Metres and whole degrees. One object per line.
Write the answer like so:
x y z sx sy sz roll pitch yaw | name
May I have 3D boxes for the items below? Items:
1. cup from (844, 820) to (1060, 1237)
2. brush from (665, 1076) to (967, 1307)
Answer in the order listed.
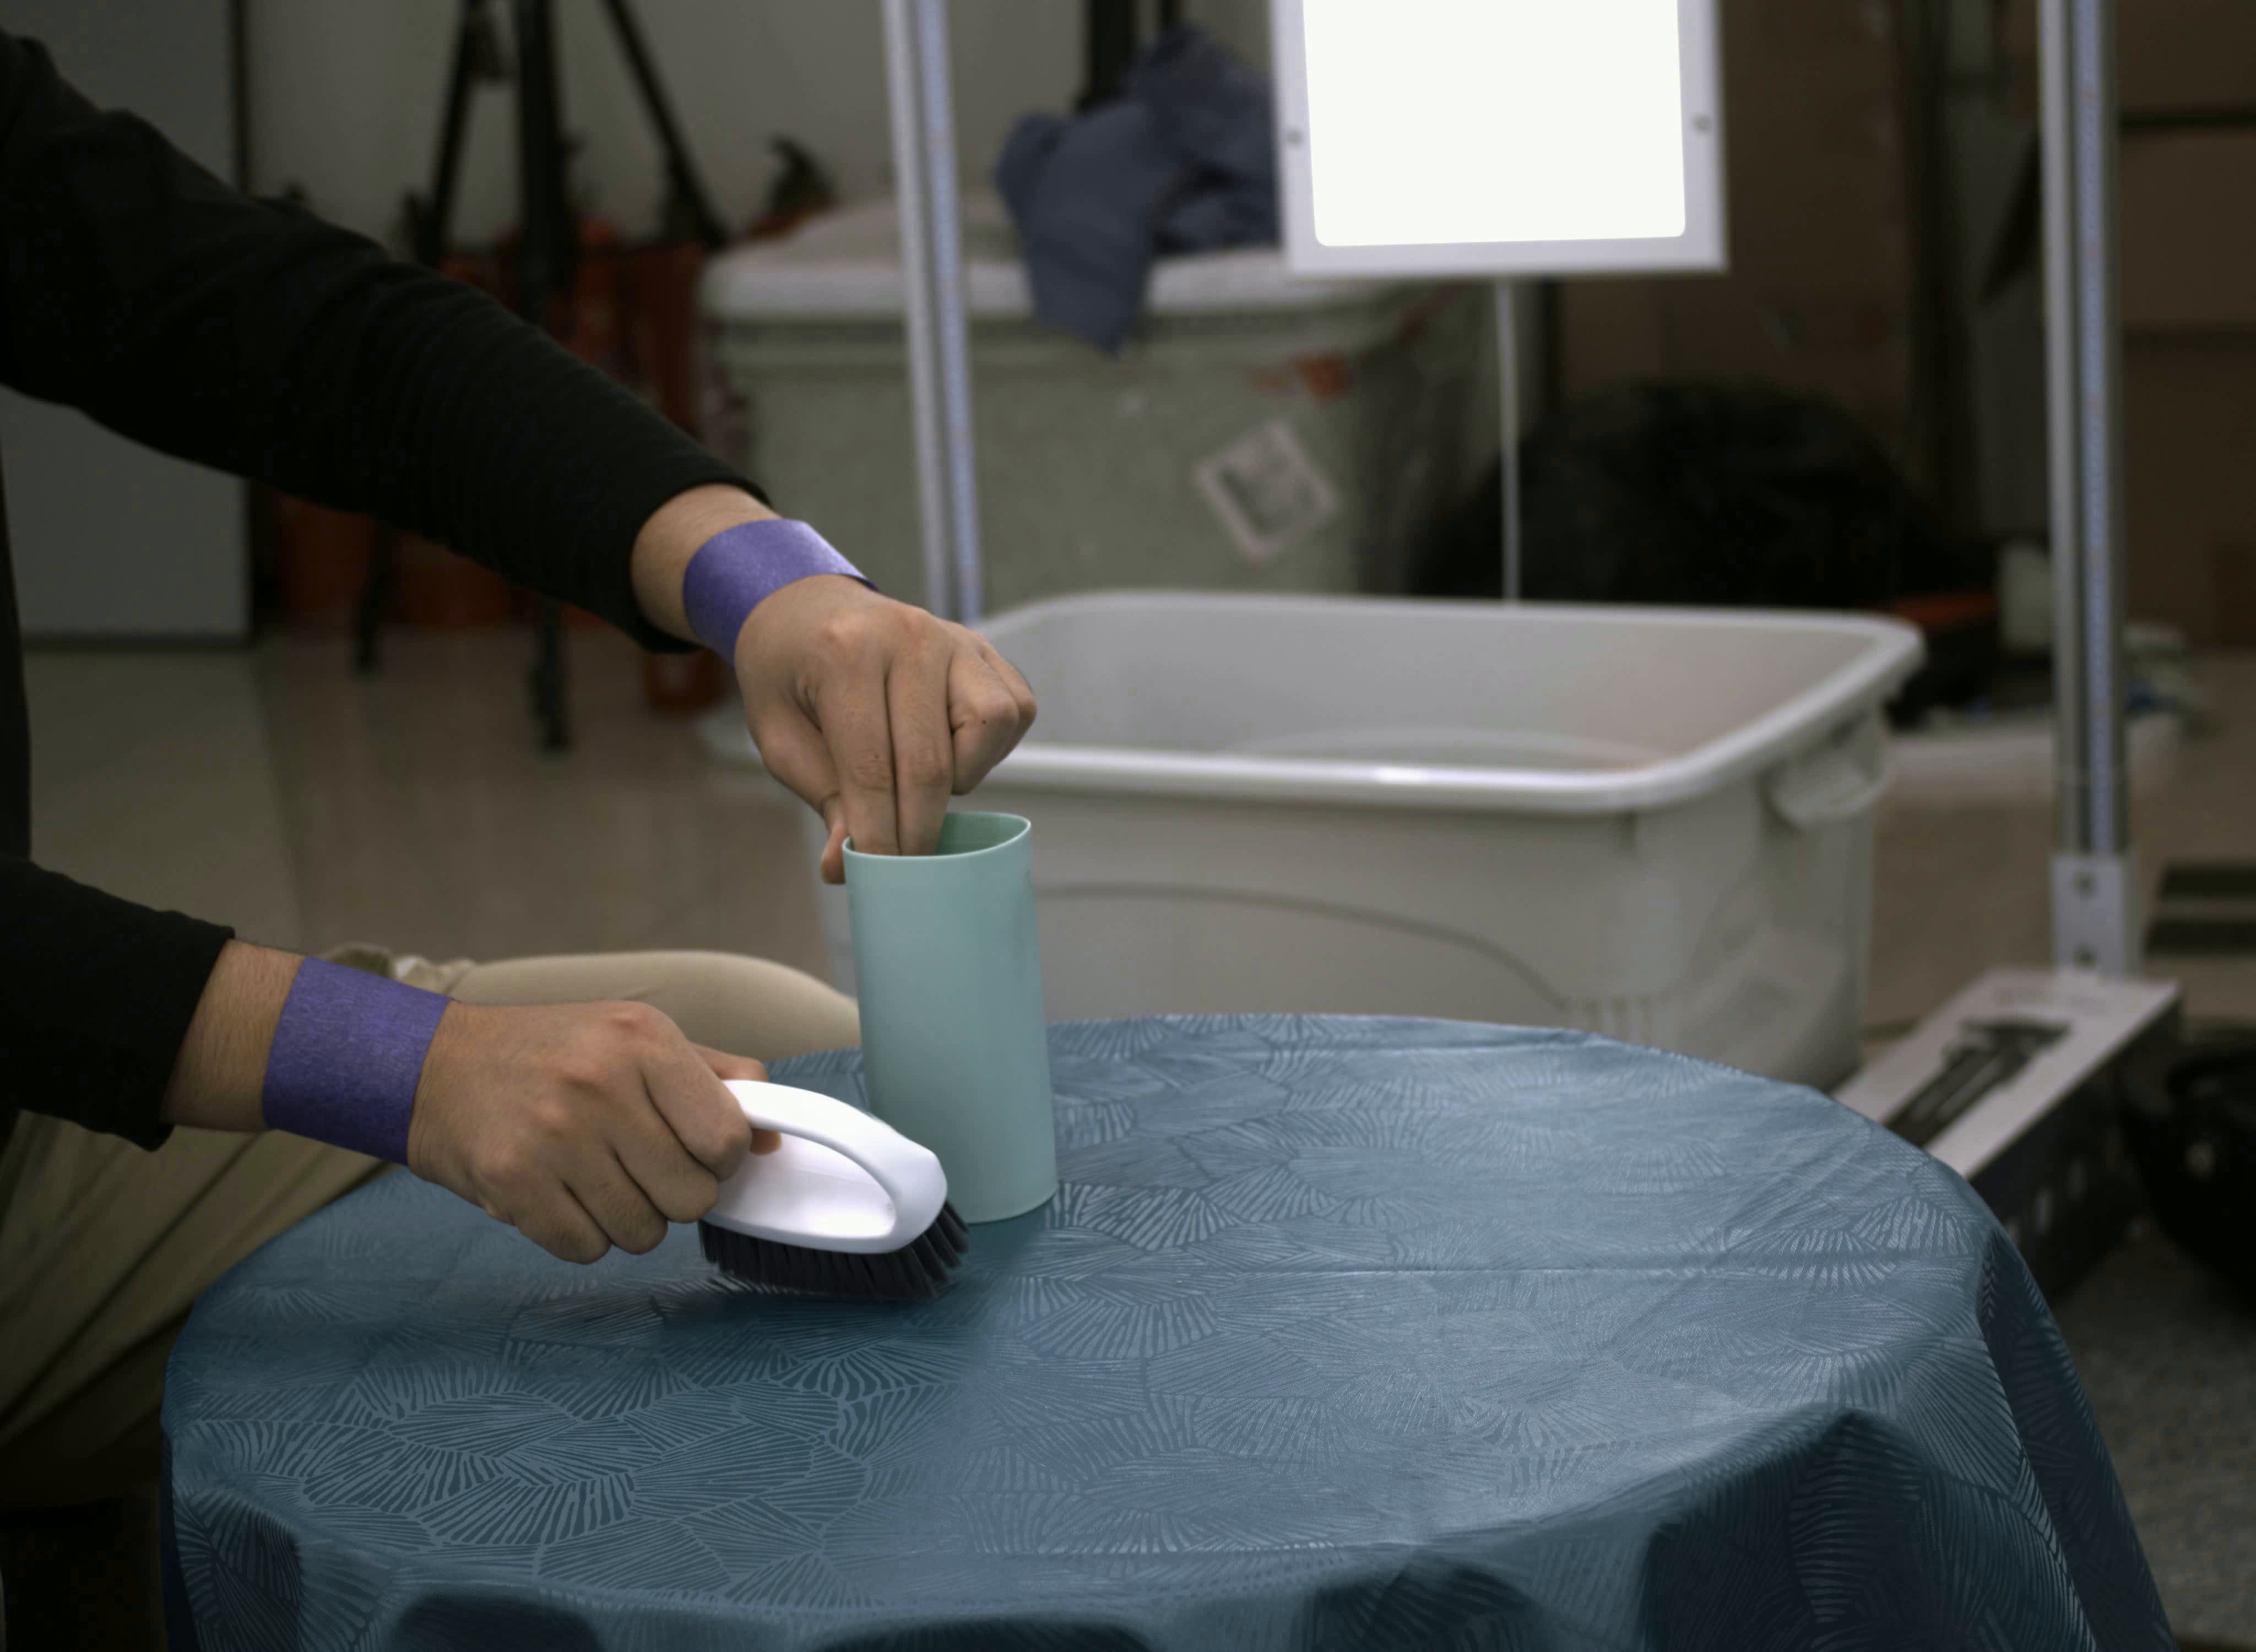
-0.060 0.069 1.893 0.066 0.133 0.066 -4 14 0 | cup
-0.107 0.112 1.810 0.101 0.072 0.049 12 55 31 | brush
